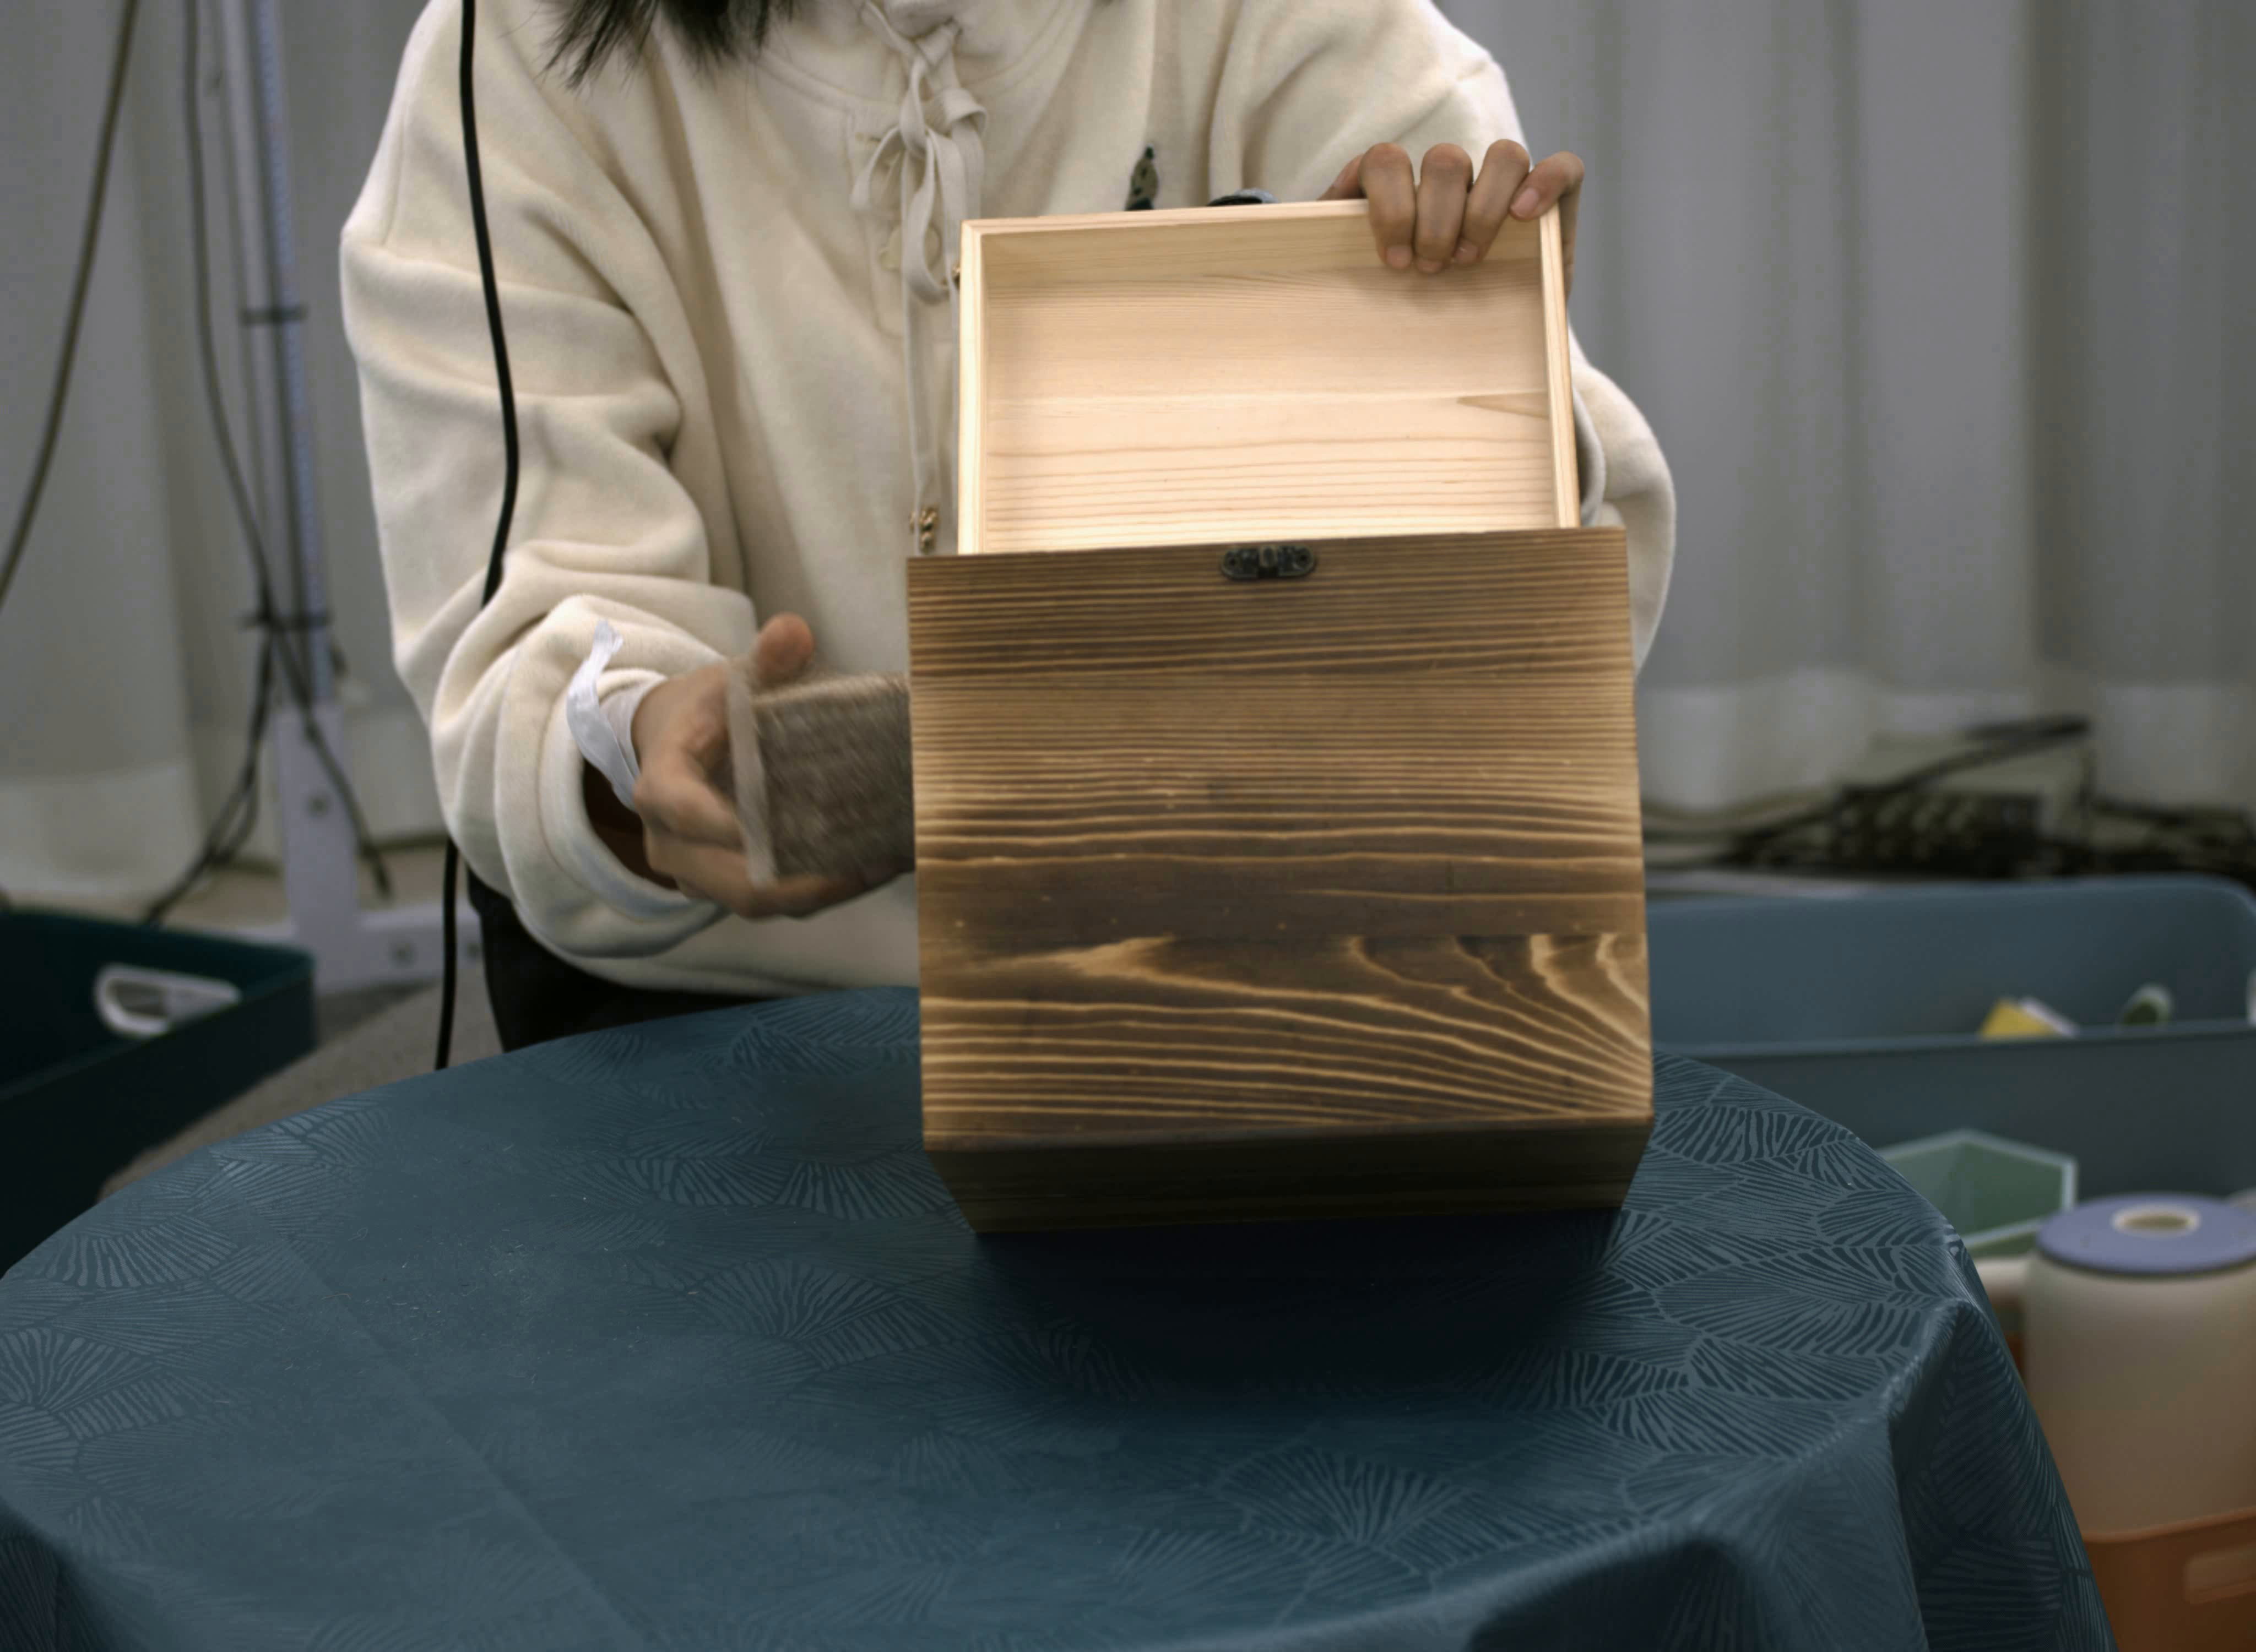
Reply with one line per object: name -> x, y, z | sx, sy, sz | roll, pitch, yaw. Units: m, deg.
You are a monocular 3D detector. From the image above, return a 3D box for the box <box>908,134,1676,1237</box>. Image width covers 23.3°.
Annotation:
box -> 0.041, -0.066, 1.669 | 0.208, 0.378, 0.320 | -3, -11, 1

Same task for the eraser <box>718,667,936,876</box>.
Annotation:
eraser -> -0.089, -0.019, 1.703 | 0.029, 0.057, 0.139 | -7, 2, 17
